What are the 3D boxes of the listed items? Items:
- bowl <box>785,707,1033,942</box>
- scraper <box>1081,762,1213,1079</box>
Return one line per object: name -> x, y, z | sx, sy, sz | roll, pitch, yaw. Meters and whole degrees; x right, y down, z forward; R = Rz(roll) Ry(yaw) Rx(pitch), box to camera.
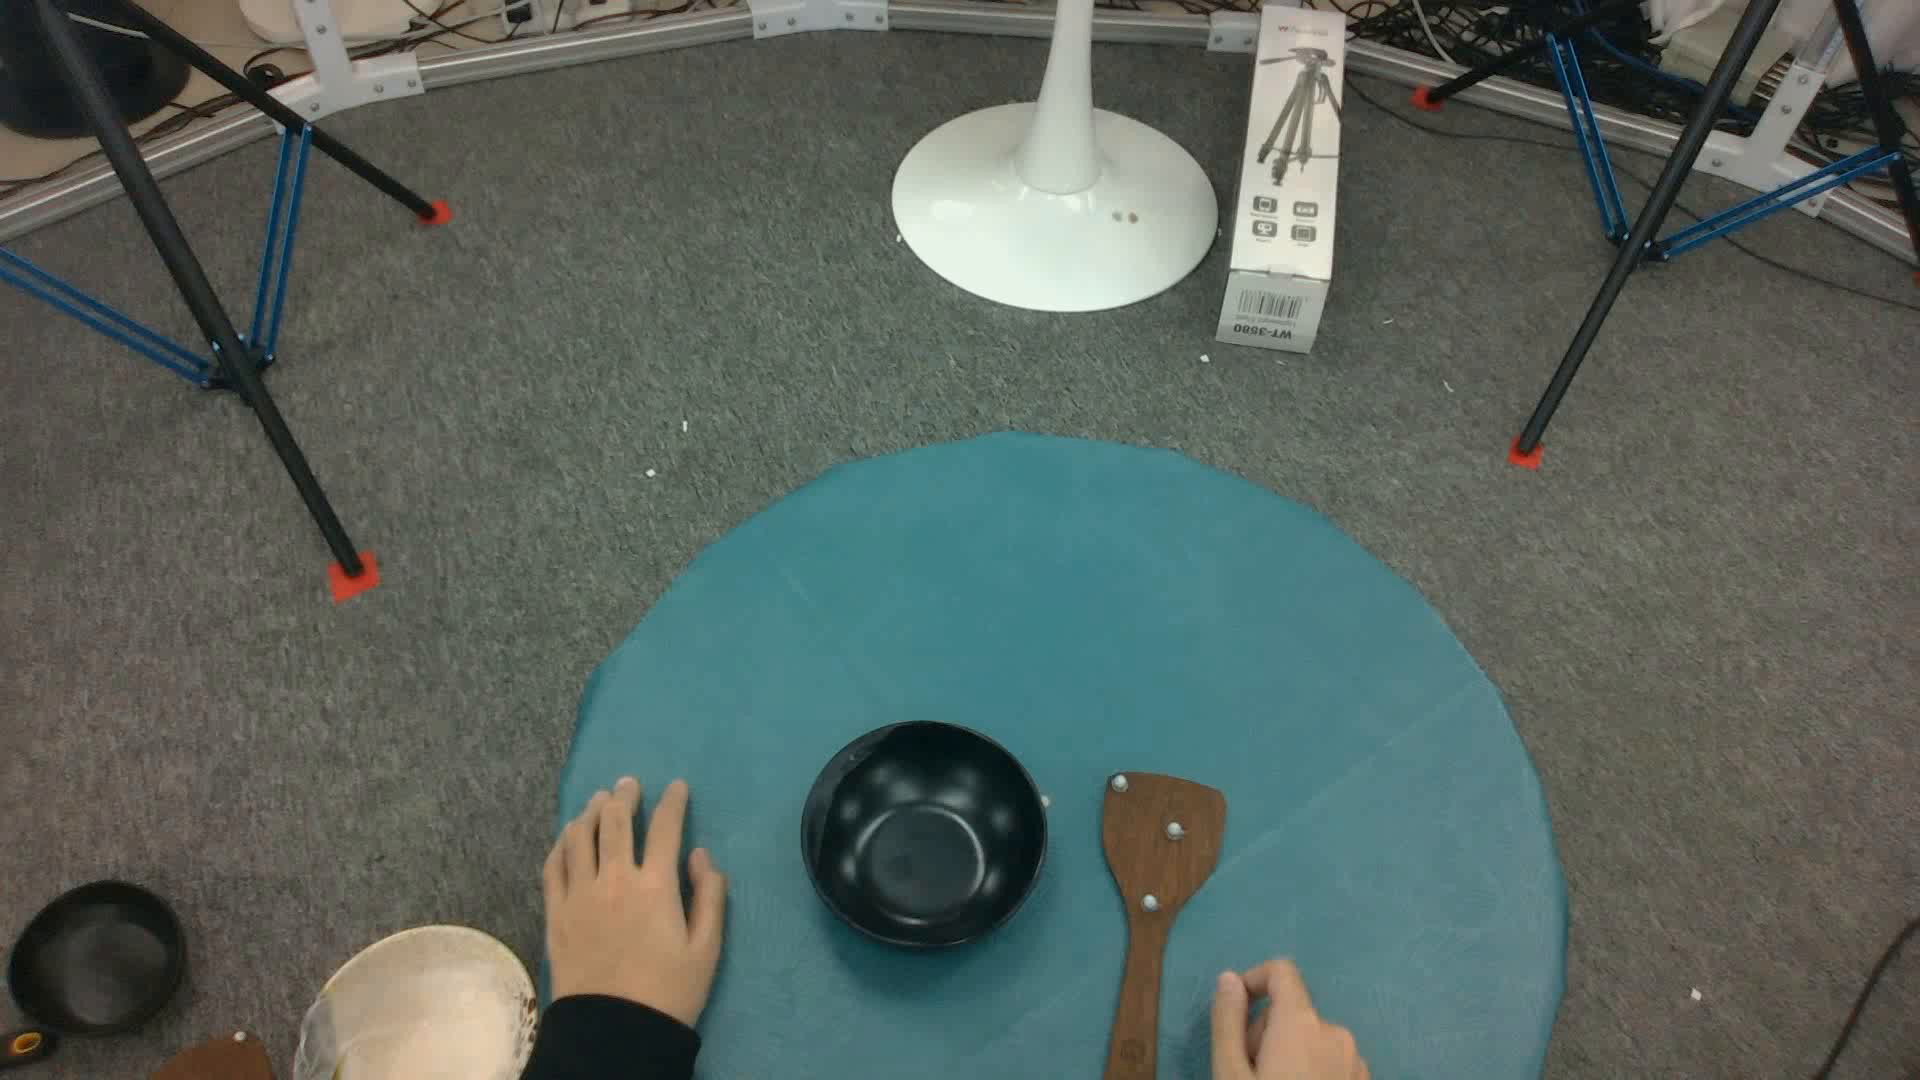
bowl -> -0.030, 0.167, 0.784 | 0.140, 0.049, 0.140 | 4, 53, -5
scraper -> 0.096, 0.222, 0.776 | 0.076, 0.011, 0.212 | 11, 53, 5
